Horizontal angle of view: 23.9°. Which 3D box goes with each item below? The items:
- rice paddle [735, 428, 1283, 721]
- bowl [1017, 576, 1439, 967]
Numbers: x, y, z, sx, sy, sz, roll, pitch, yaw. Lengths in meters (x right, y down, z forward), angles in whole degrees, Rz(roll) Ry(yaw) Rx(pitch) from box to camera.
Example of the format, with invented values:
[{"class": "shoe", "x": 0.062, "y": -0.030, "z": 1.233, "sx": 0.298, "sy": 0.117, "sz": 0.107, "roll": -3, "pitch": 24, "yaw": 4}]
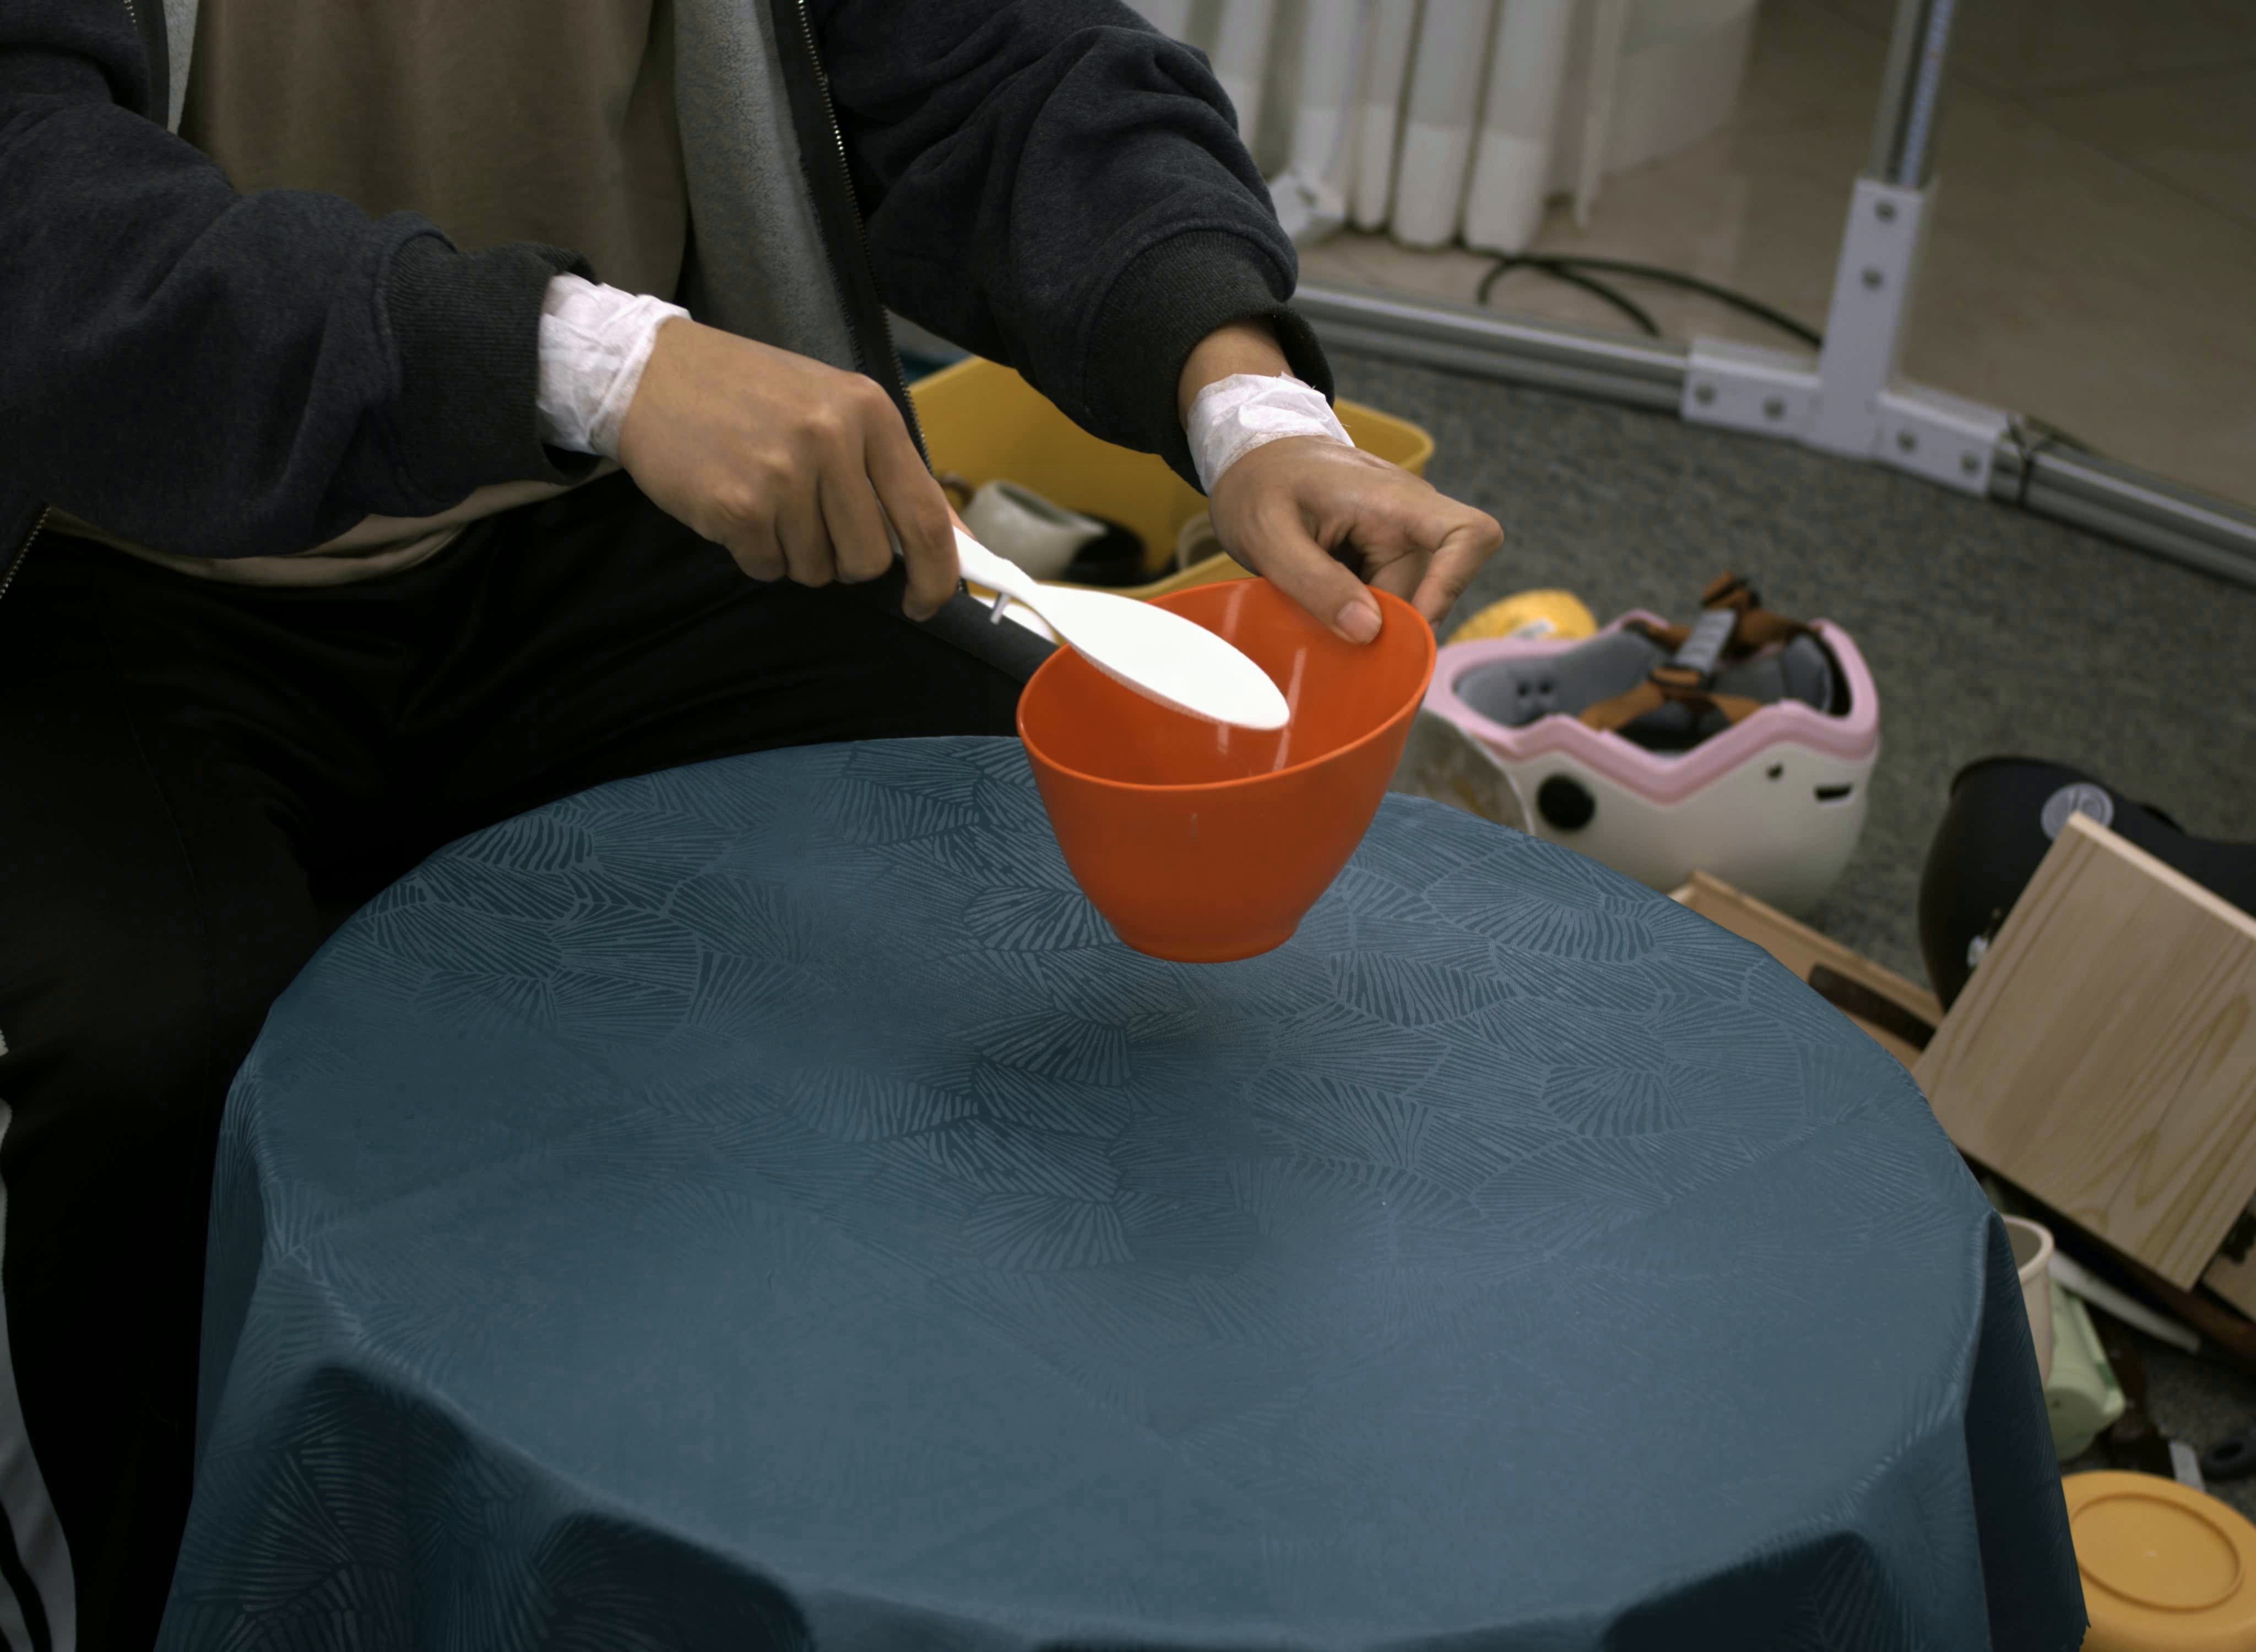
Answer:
[{"class": "rice paddle", "x": -0.037, "y": -0.085, "z": 1.850, "sx": 0.204, "sy": 0.029, "sz": 0.069, "roll": 23, "pitch": 26, "yaw": -8}, {"class": "bowl", "x": 0.036, "y": -0.014, "z": 1.869, "sx": 0.147, "sy": 0.104, "sz": 0.149, "roll": -2, "pitch": 26, "yaw": 0}]
